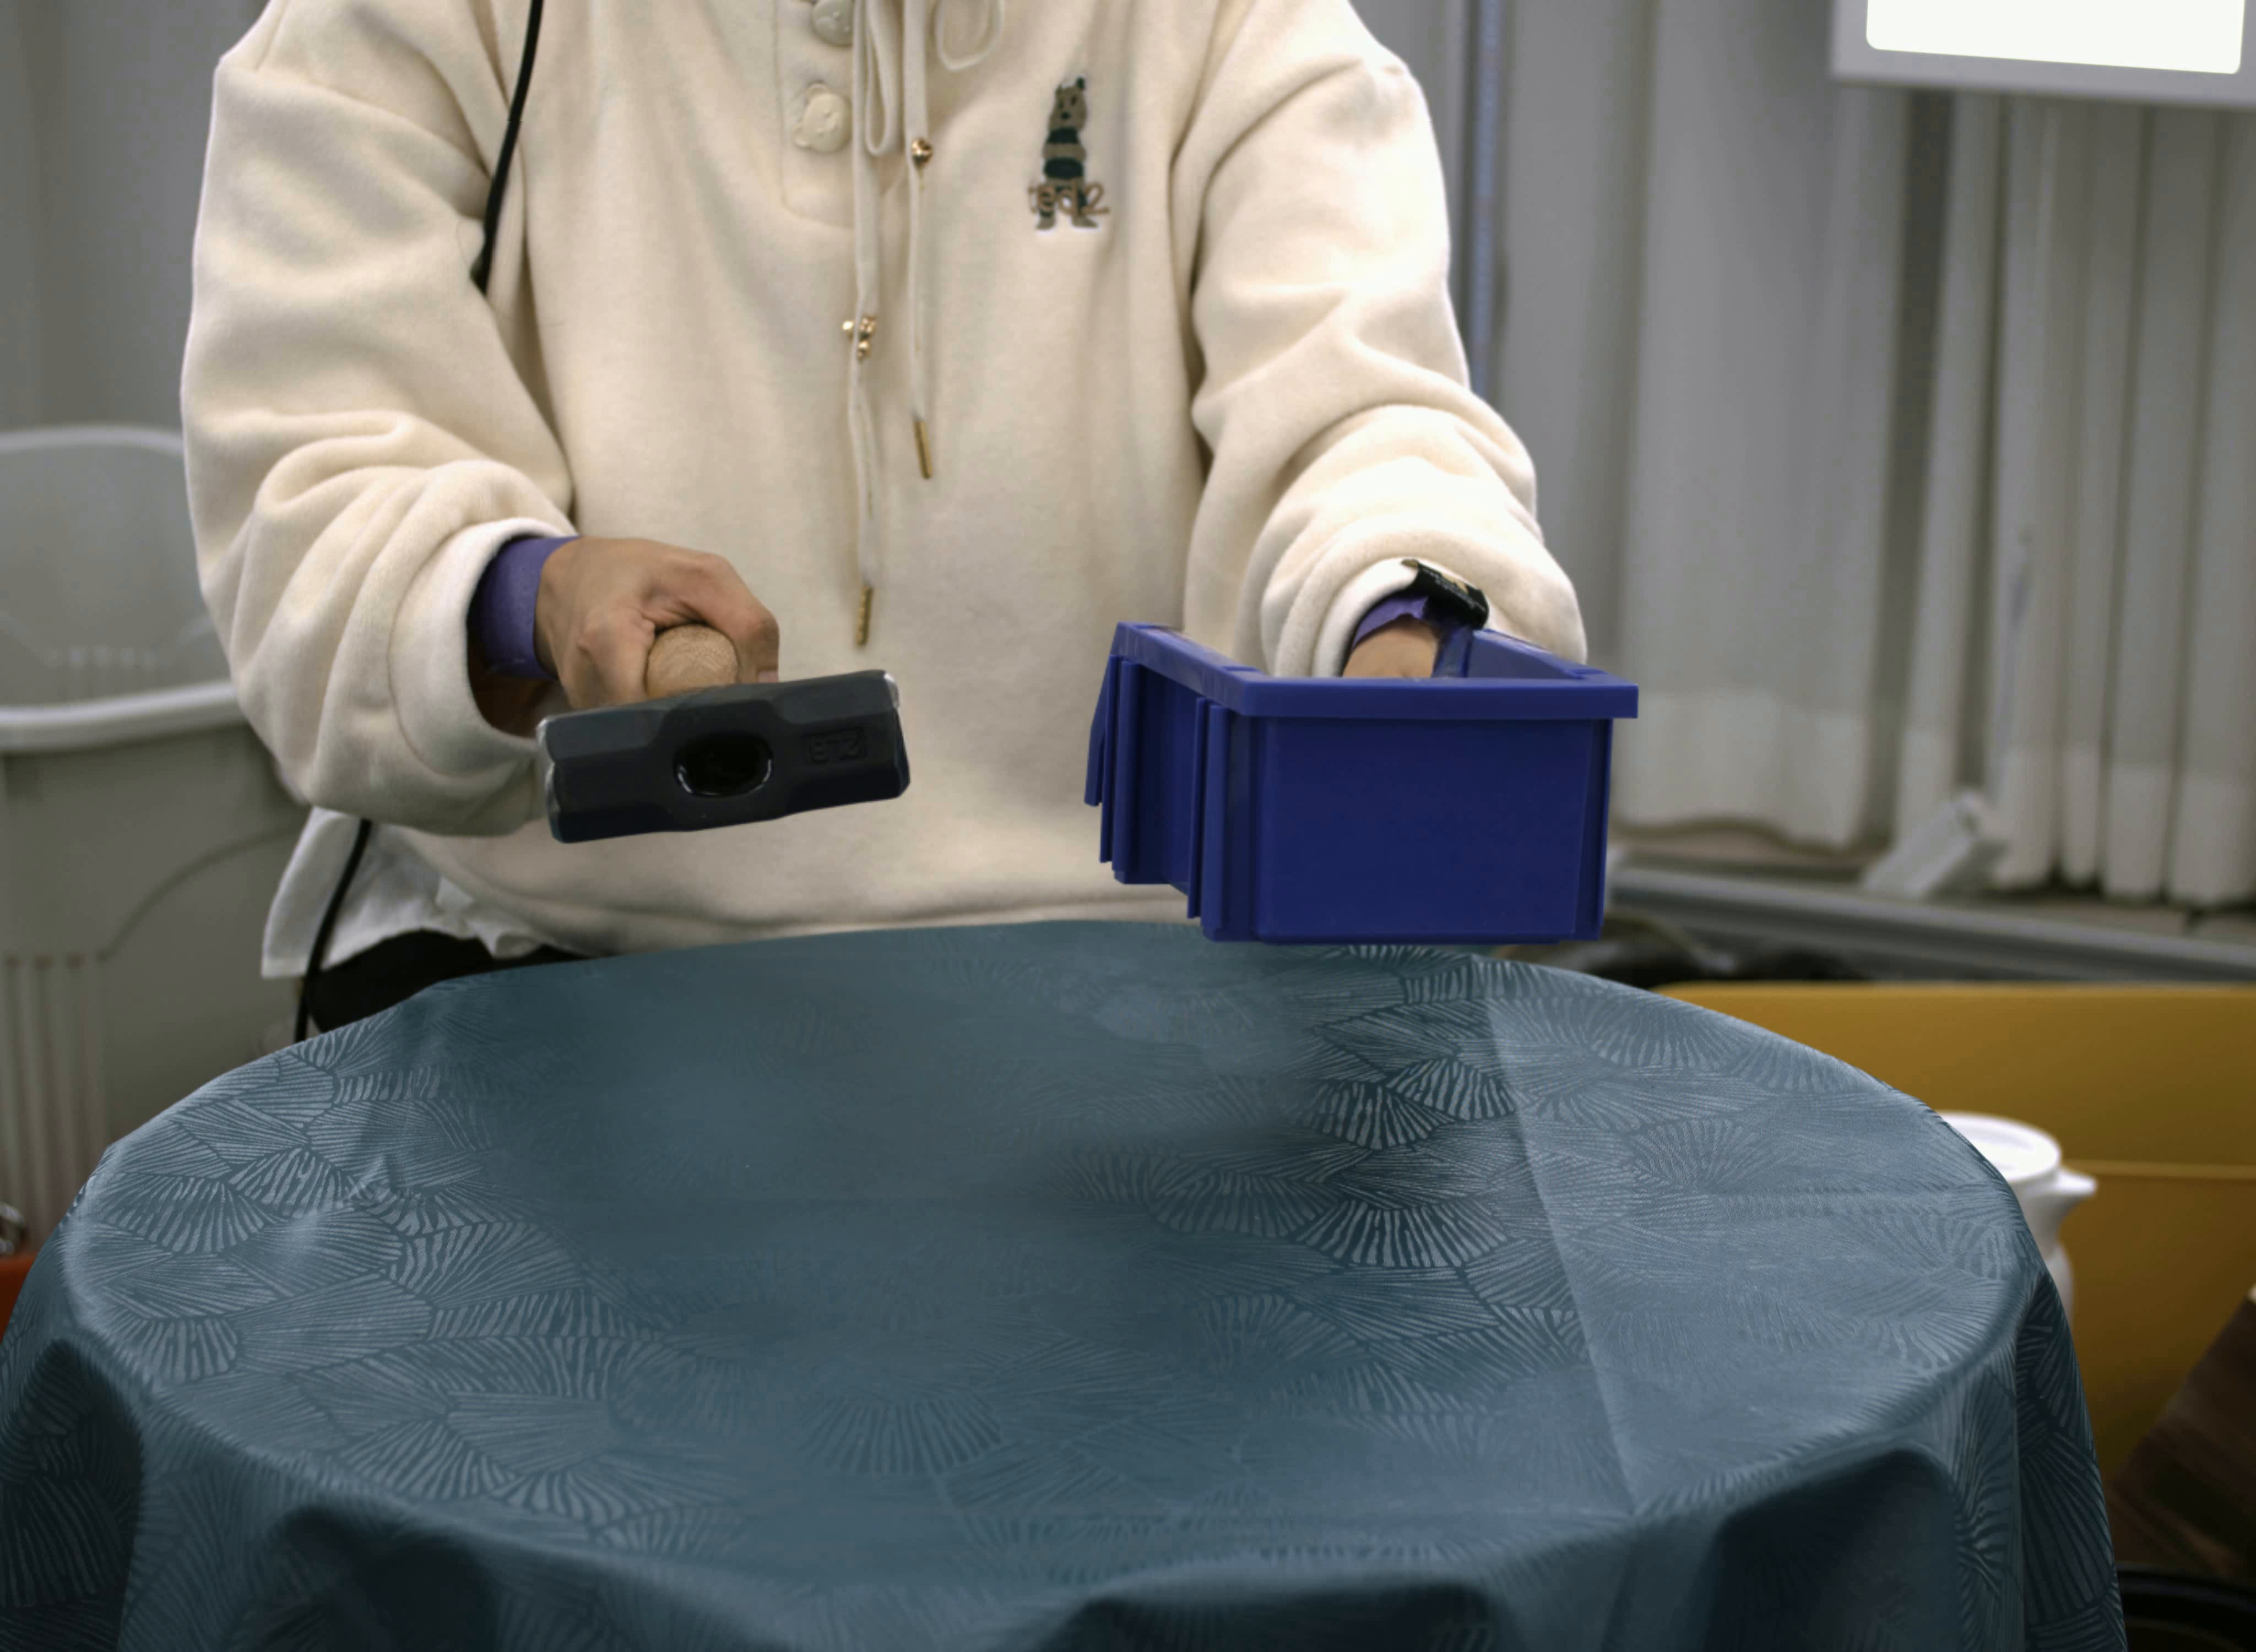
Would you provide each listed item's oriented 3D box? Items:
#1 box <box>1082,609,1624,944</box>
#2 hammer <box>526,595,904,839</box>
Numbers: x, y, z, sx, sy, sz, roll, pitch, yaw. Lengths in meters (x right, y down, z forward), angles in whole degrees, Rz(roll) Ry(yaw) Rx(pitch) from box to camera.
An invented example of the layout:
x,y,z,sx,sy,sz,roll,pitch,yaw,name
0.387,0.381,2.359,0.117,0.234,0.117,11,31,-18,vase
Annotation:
x,y,z,sx,sy,sz,roll,pitch,yaw,name
0.062,-0.018,1.612,0.125,0.082,0.178,0,11,-14,box
-0.130,-0.042,1.659,0.107,0.038,0.303,-8,10,-3,hammer
